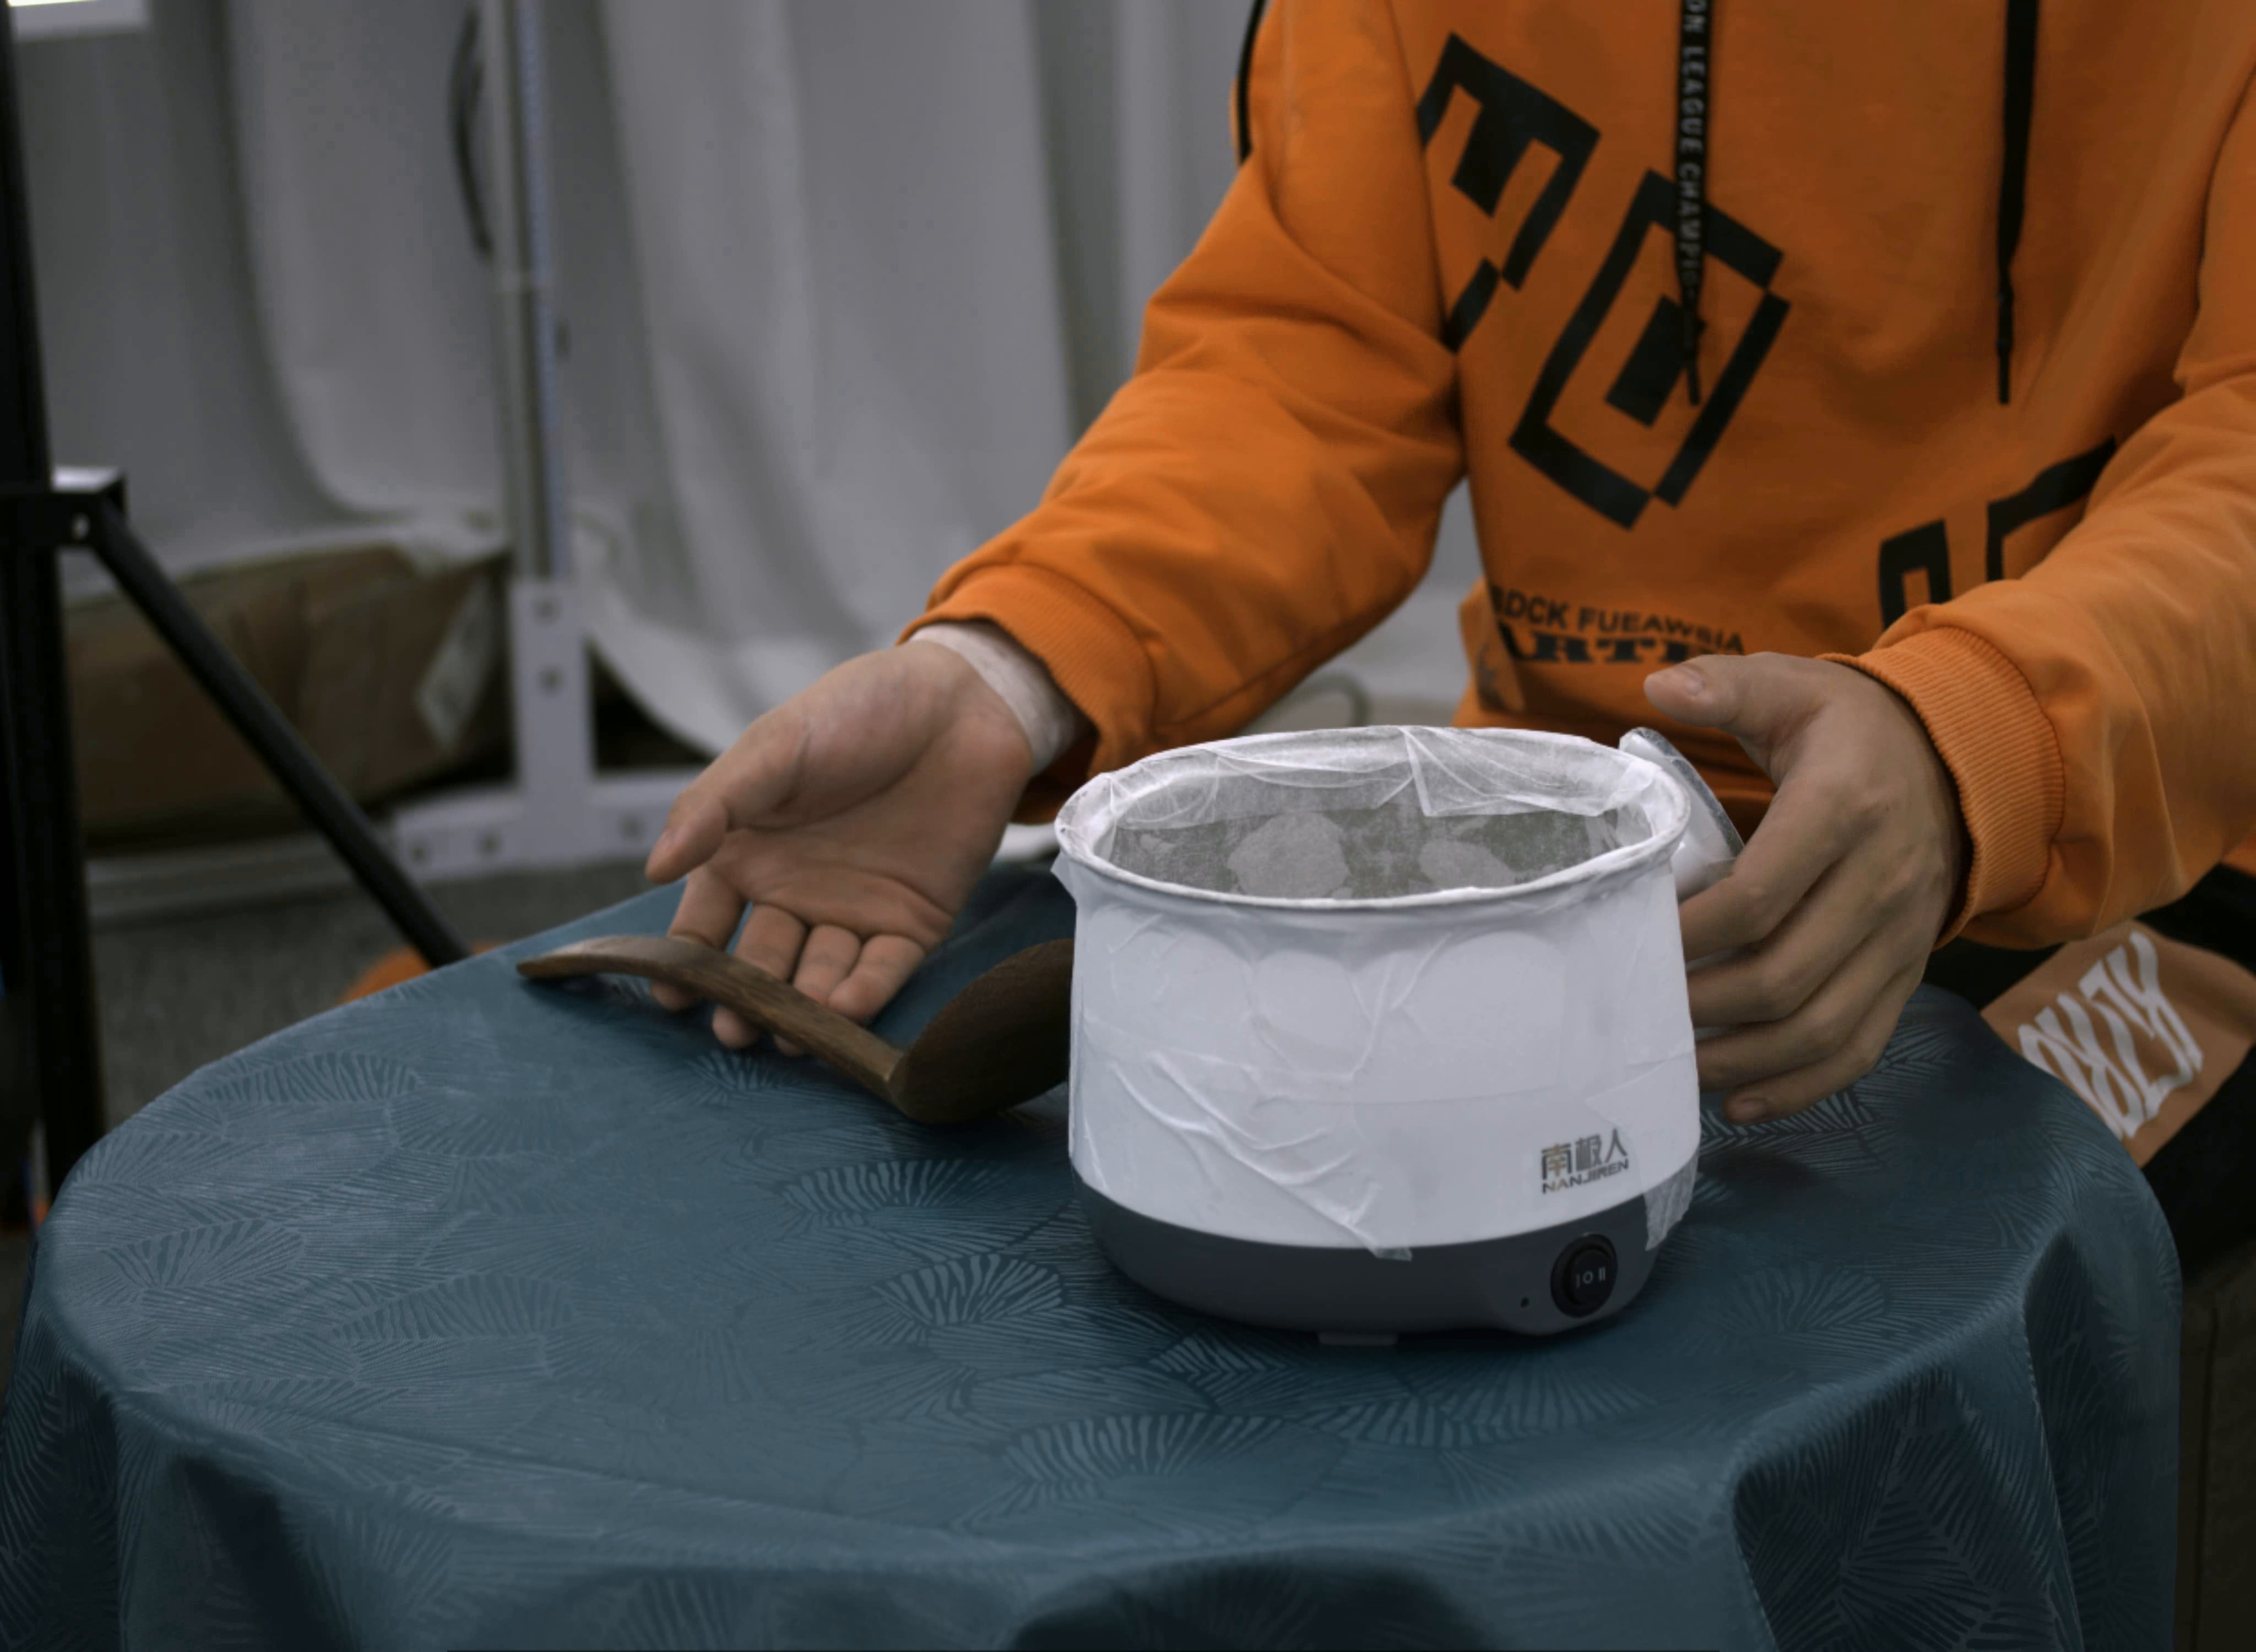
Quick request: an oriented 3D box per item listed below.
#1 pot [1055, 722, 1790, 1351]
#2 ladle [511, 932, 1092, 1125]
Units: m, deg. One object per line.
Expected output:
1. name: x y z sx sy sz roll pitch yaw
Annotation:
1. pot: 0.092 0.051 1.492 0.228 0.136 0.183 -14 20 -34
2. ladle: -0.109 0.041 1.684 0.074 0.071 0.280 -11 18 -38
